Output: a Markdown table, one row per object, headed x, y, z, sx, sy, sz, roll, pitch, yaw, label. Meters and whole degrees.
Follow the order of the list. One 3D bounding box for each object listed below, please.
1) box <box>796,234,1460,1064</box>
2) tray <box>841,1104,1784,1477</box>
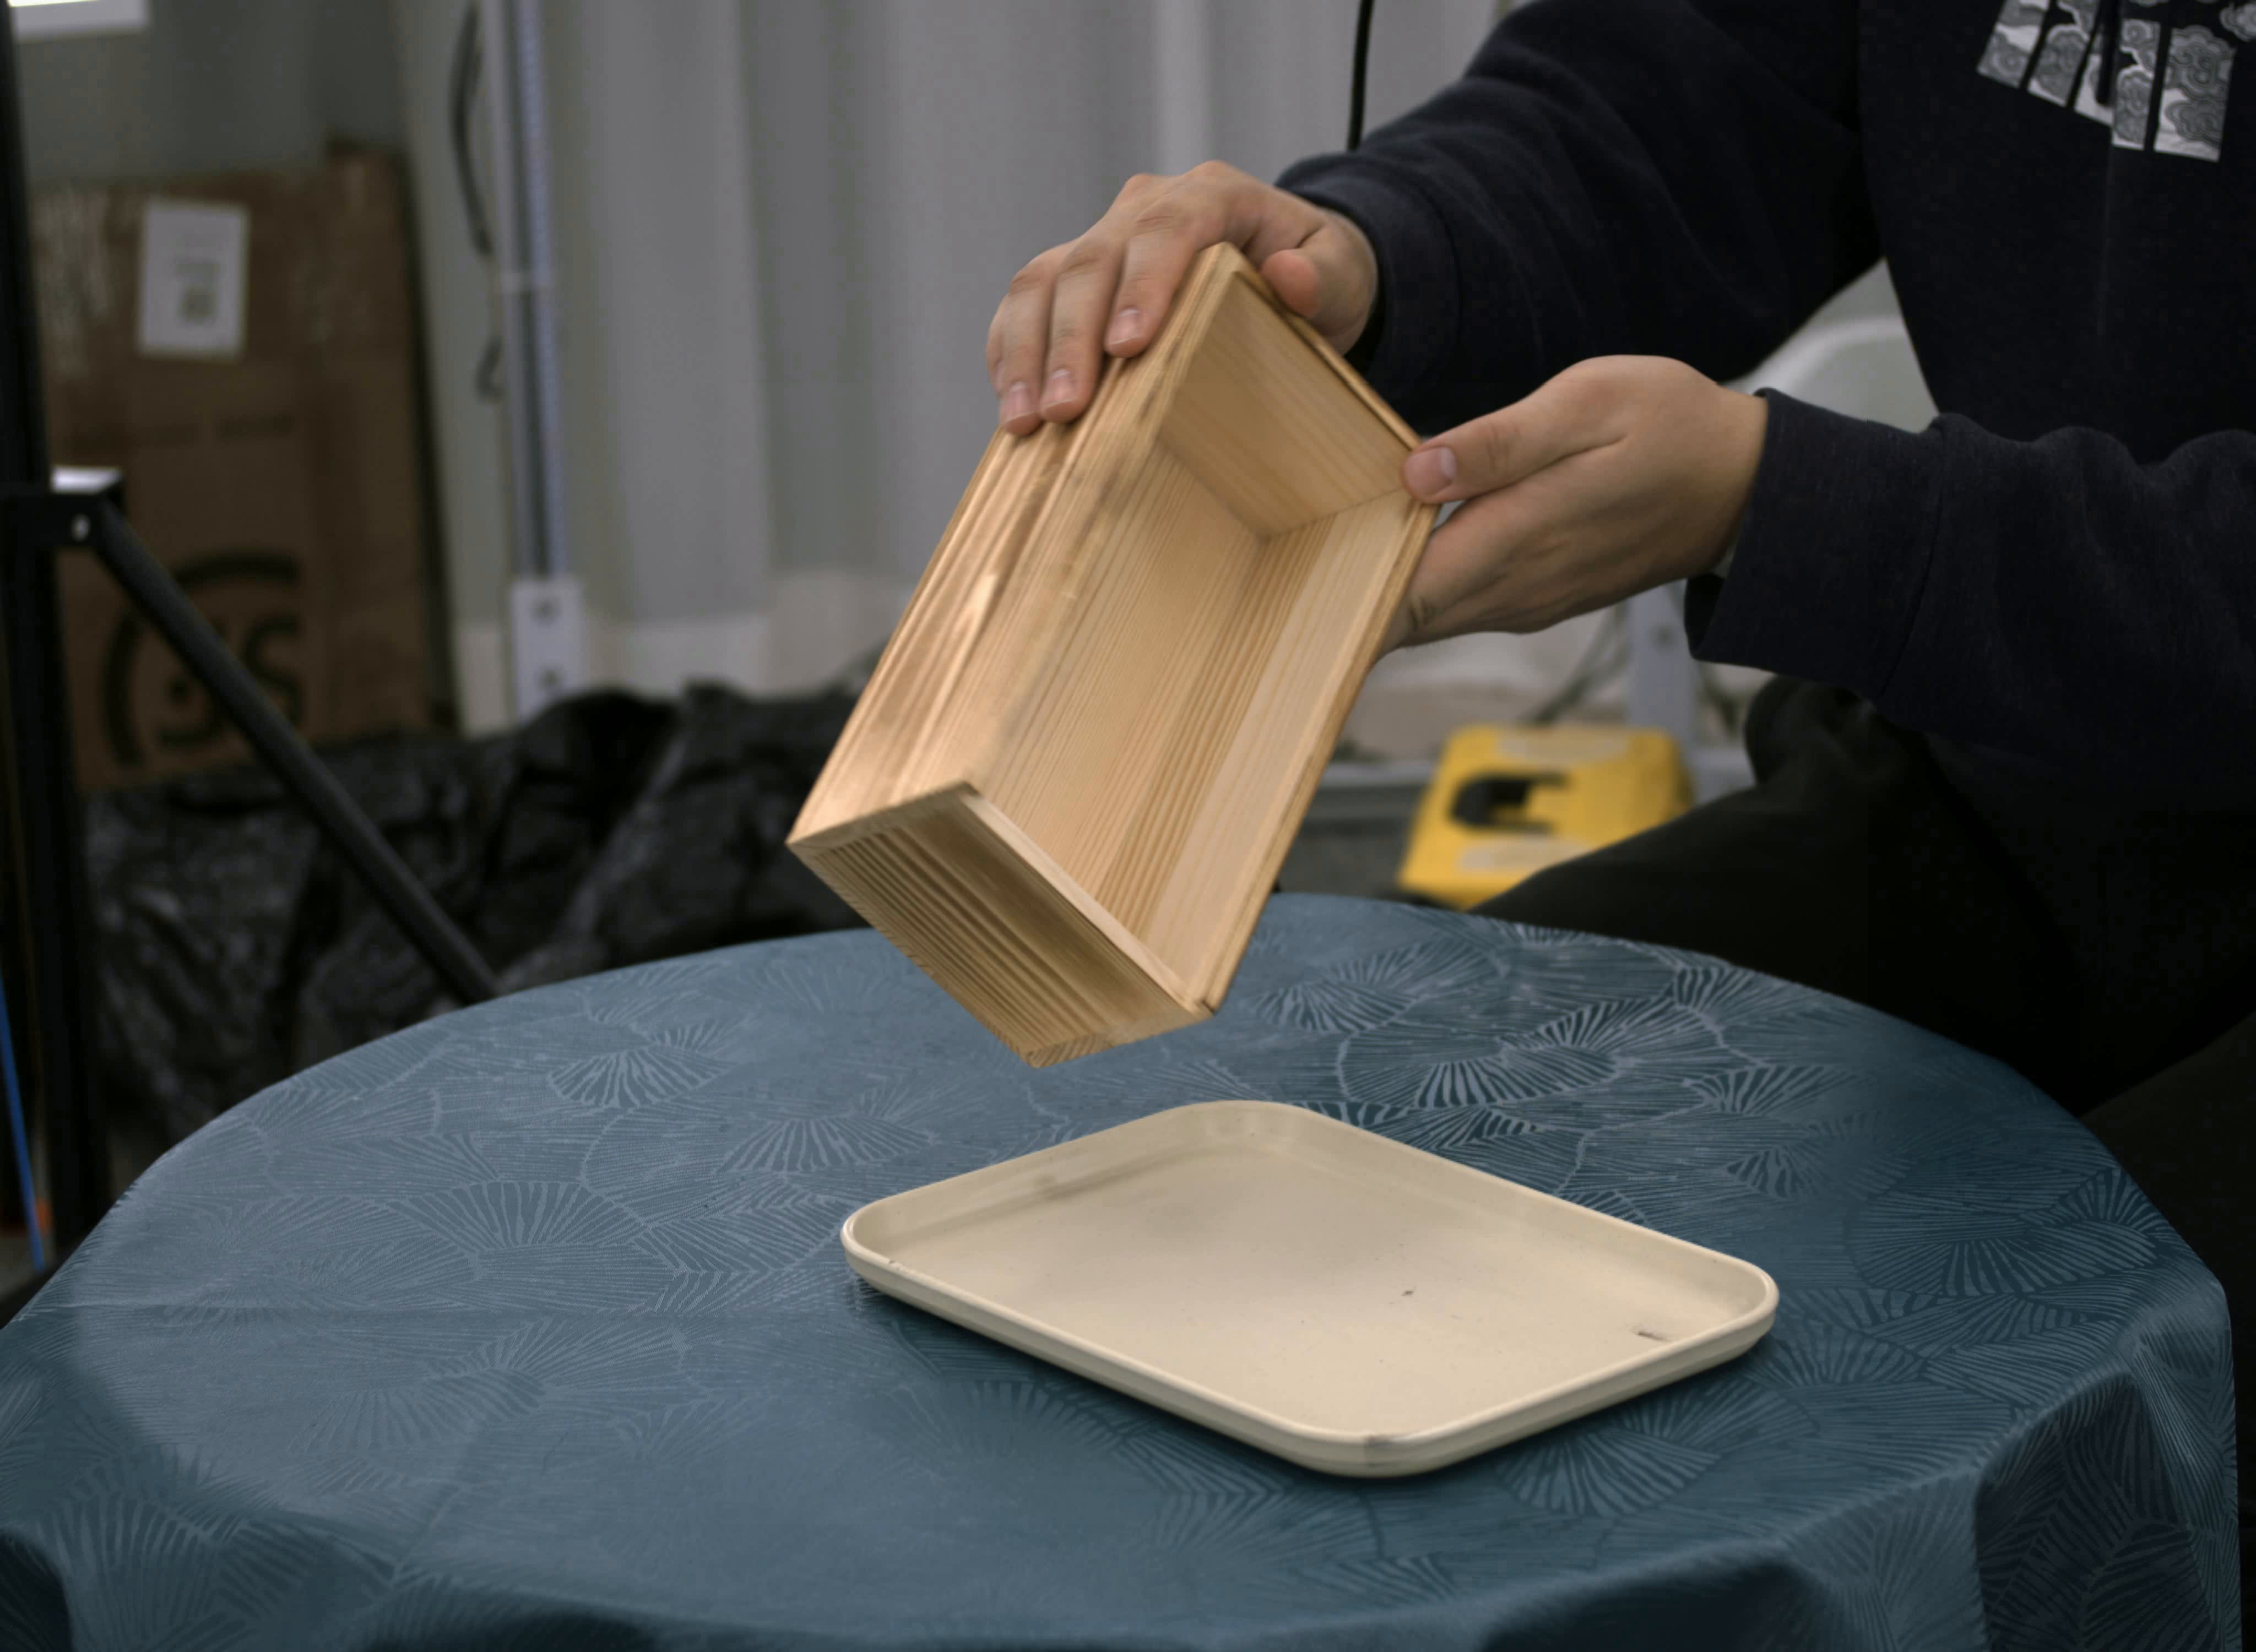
| x | y | z | sx | sy | sz | roll | pitch | yaw | label |
| --- | --- | --- | --- | --- | --- | --- | --- | --- | --- |
| 0.003 | -0.051 | 1.531 | 0.082 | 0.105 | 0.211 | -17 | 39 | 46 | box |
| 0.048 | 0.126 | 1.456 | 0.167 | 0.017 | 0.245 | -14 | 19 | -37 | tray |
